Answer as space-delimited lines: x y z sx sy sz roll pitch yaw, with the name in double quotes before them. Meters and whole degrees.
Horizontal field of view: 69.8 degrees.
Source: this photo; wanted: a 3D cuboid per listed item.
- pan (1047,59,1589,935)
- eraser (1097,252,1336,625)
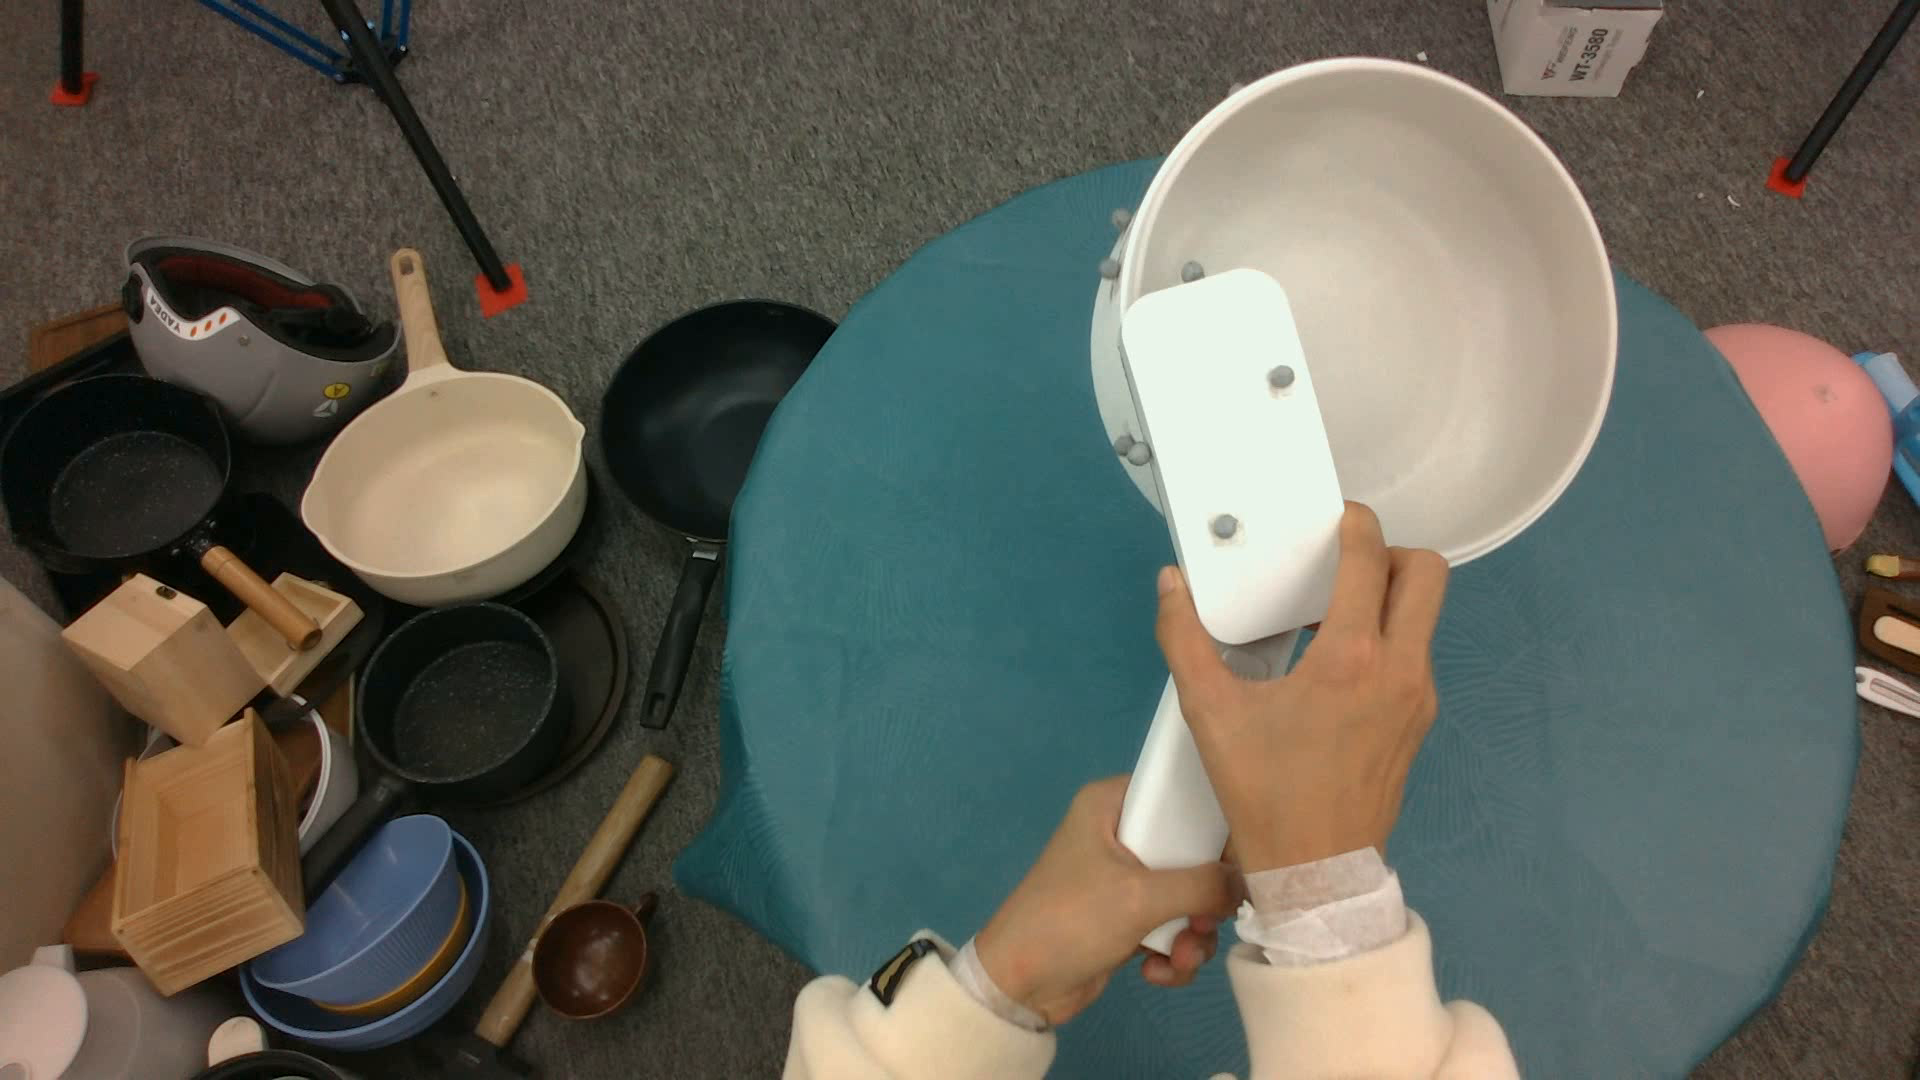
"pan" 0.117 -0.017 0.574 0.201 0.102 0.355 23 84 -4
"eraser" 0.091 -0.036 0.504 0.063 0.034 0.131 -16 92 -3
